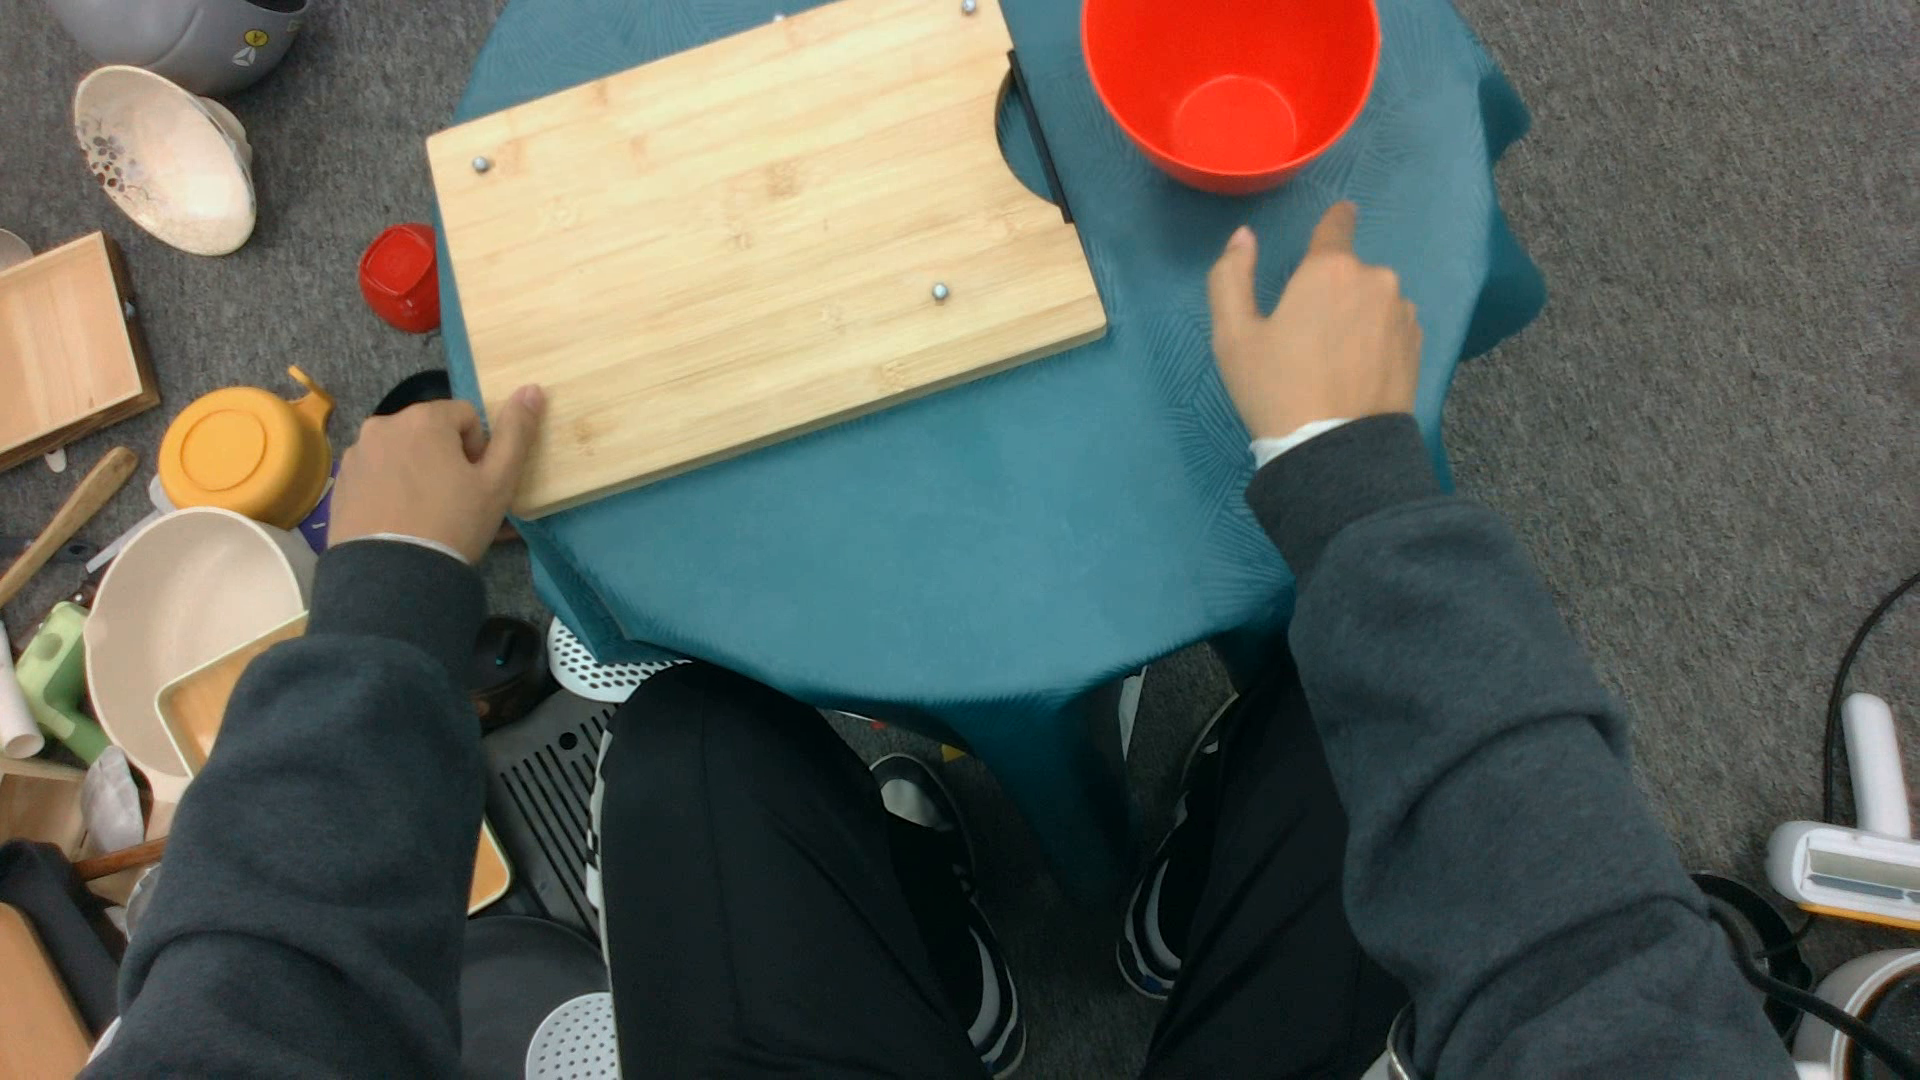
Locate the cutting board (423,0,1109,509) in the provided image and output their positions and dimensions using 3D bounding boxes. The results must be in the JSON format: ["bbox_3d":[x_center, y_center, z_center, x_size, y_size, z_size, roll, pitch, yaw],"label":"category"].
[{"bbox_3d":[-0.119,-0.180,0.777,0.348,0.023,0.251,-18,76,1],"label":"cutting board"}]

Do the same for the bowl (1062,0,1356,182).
[{"bbox_3d":[0.128,-0.251,0.727,0.148,0.104,0.148,-1,76,4],"label":"bowl"}]
